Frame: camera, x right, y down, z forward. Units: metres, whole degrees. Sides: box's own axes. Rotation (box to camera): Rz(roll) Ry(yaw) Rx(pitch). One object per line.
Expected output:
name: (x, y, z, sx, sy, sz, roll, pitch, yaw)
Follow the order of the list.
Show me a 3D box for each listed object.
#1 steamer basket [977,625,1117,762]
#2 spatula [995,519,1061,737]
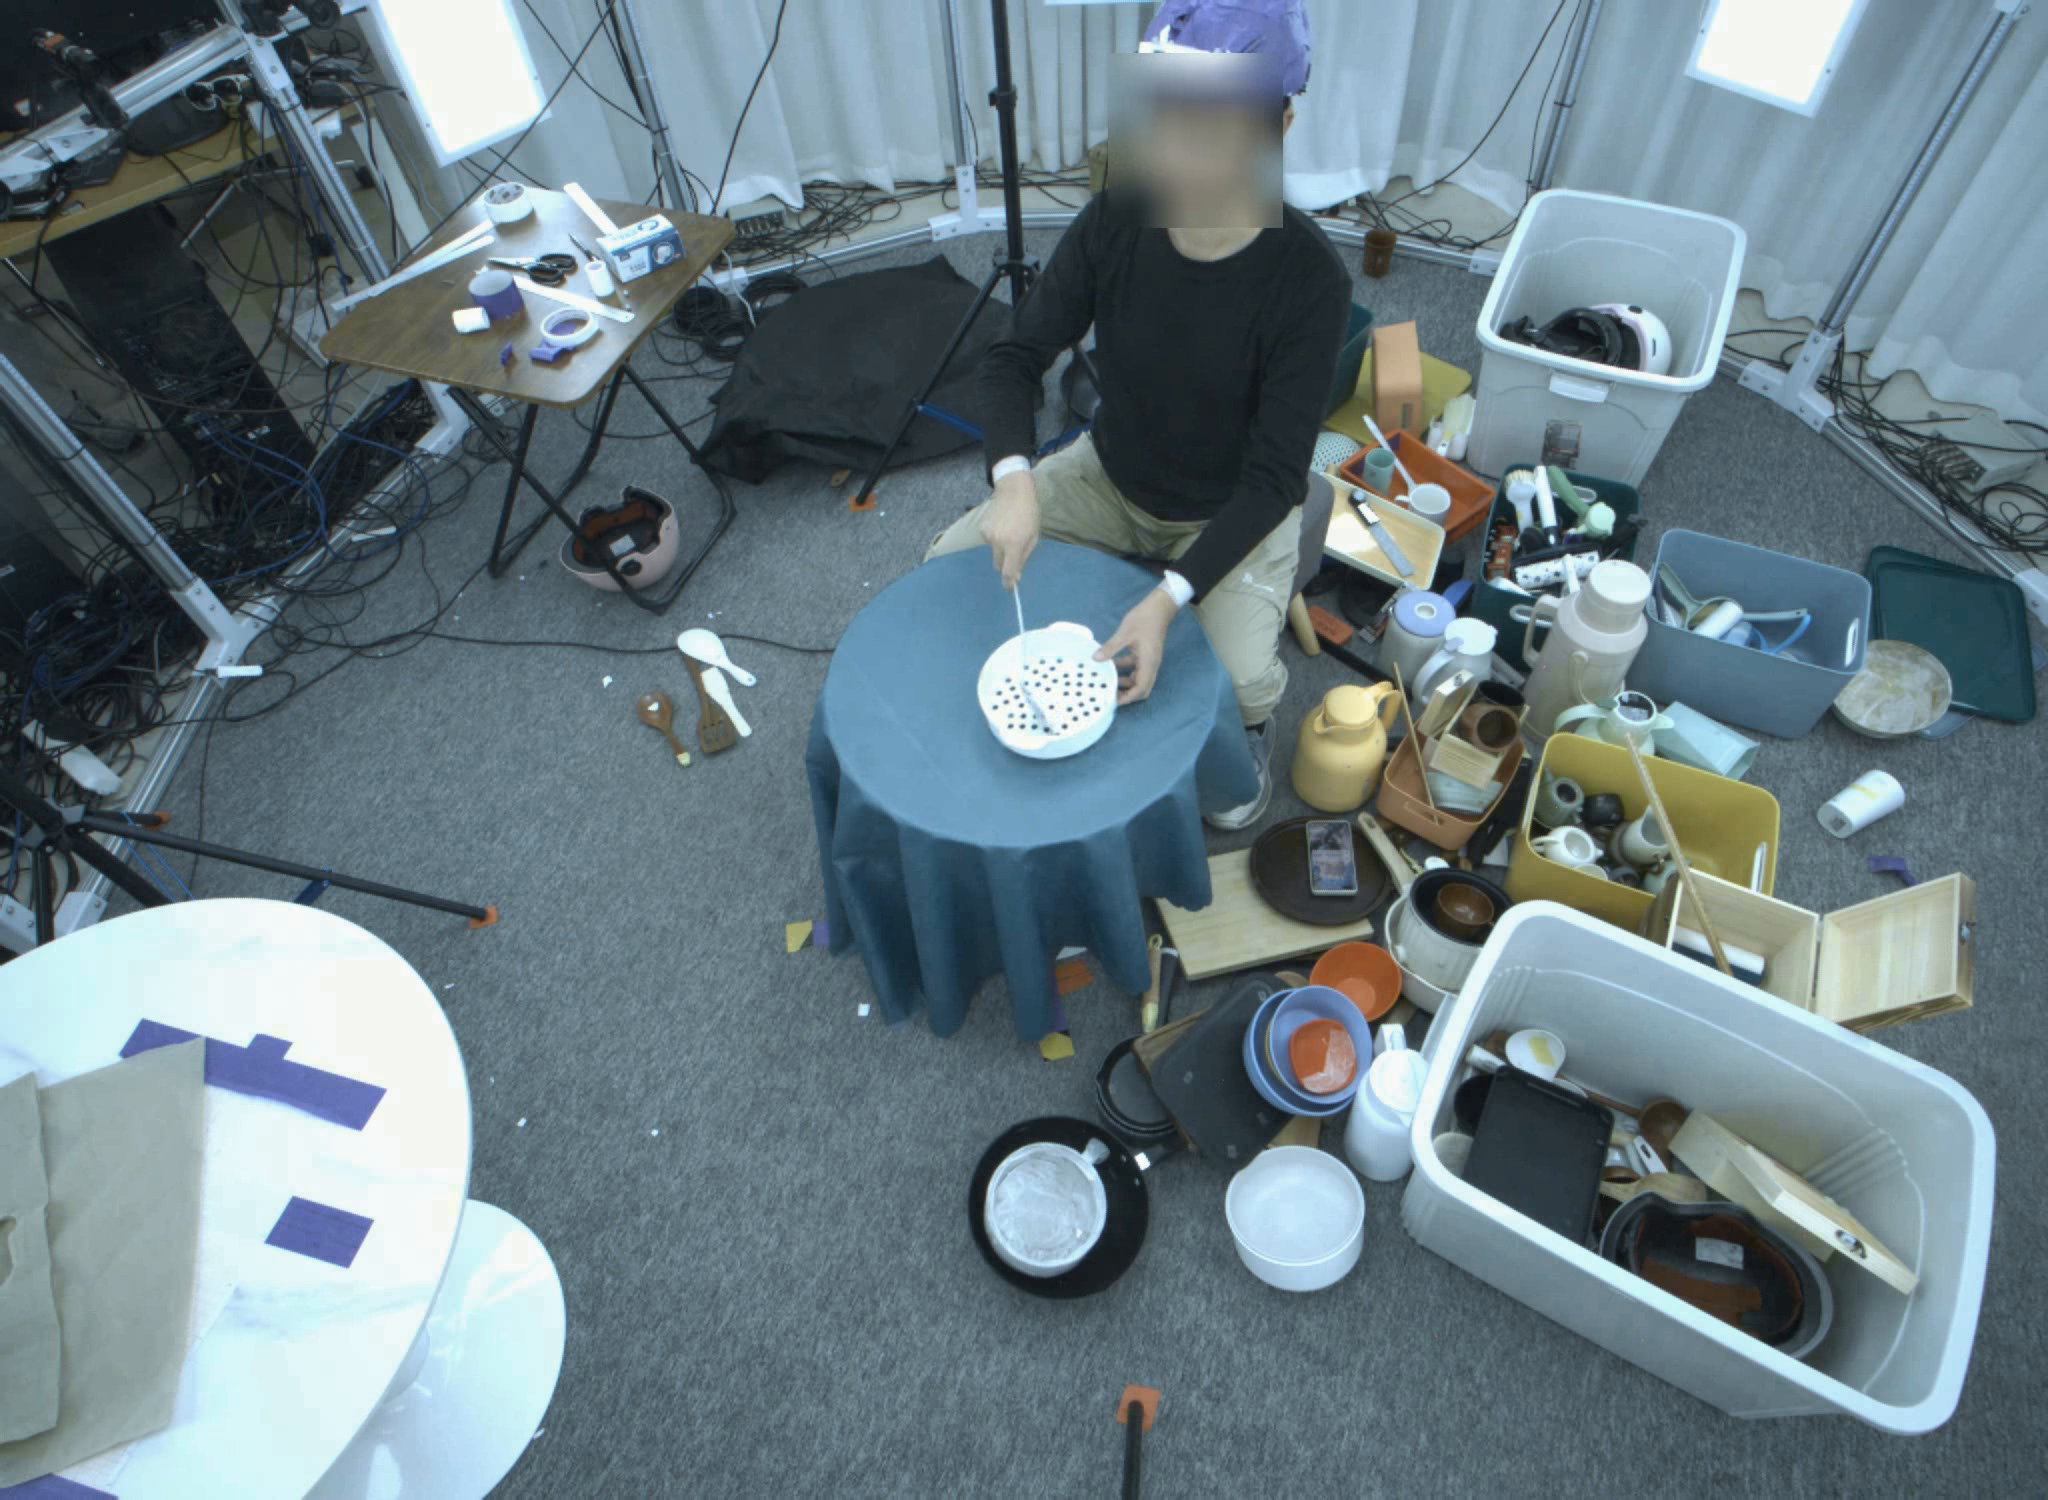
steamer basket: (0.035, -0.077, 1.793, 0.200, 0.070, 0.230, 16, 60, 15)
spatula: (0.002, -0.183, 1.786, 0.044, 0.100, 0.362, -11, 75, 8)
